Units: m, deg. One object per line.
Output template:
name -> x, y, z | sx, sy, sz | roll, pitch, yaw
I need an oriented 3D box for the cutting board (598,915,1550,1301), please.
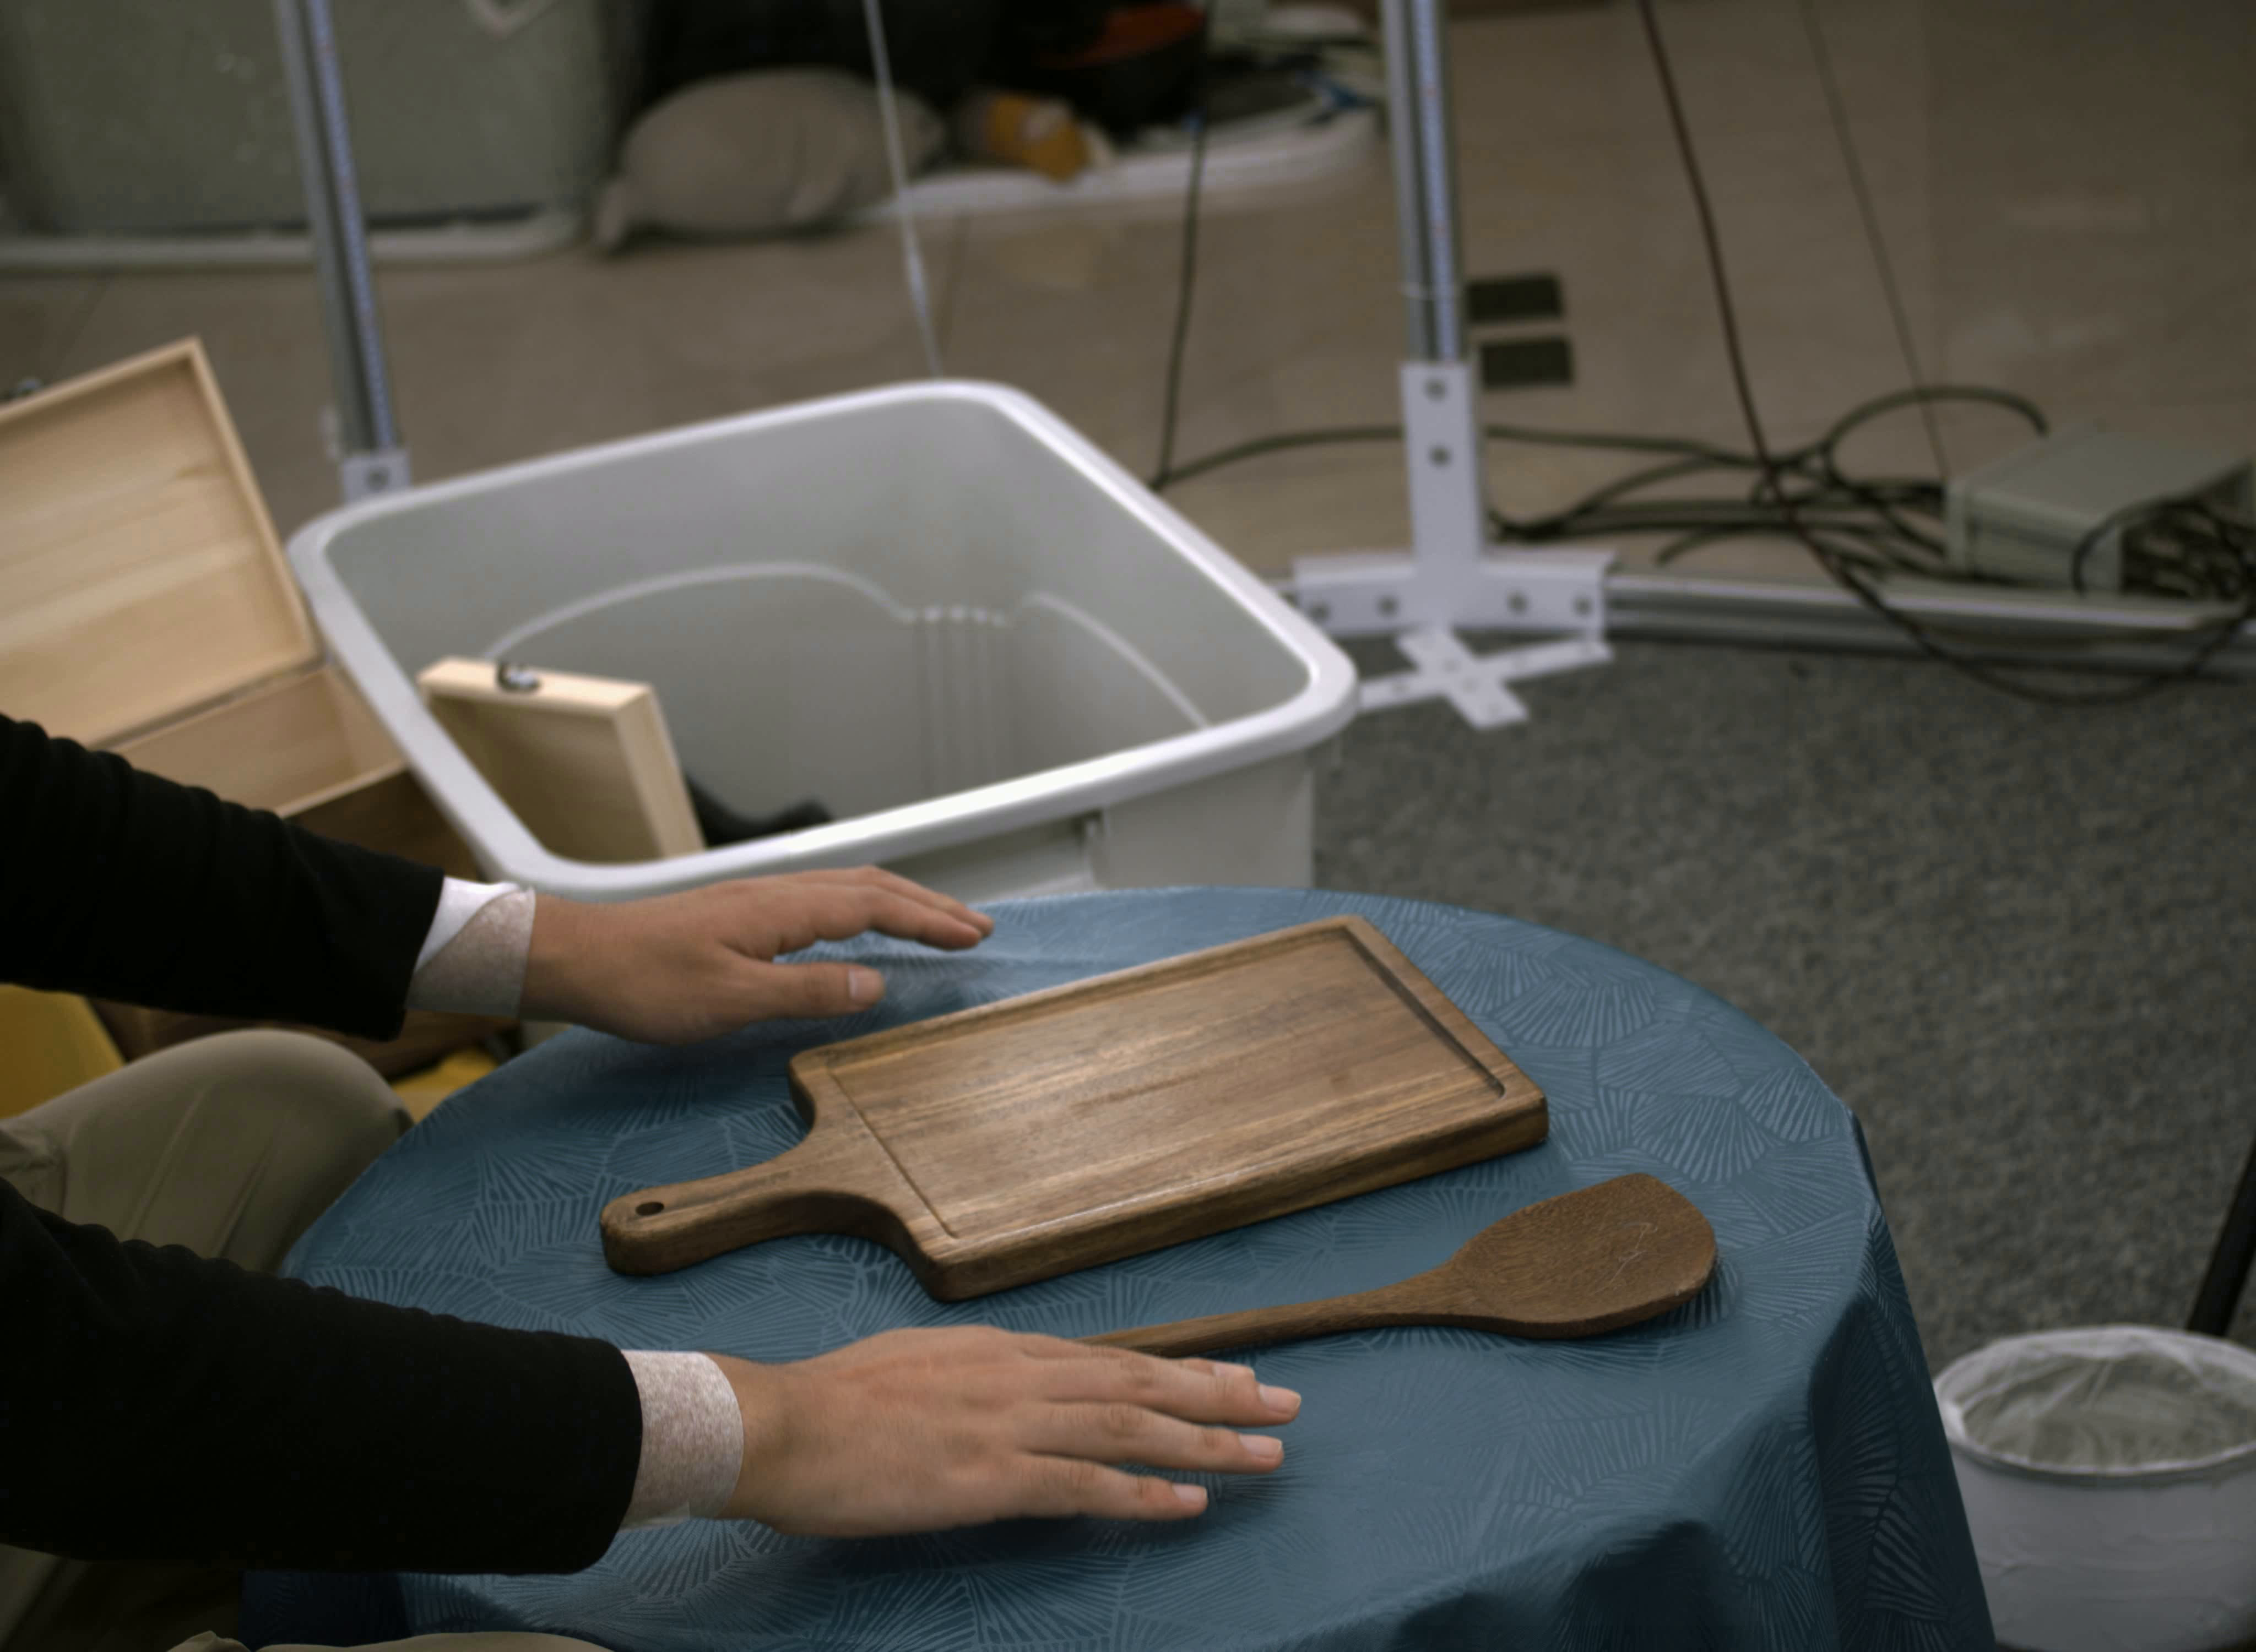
cutting board -> -0.035, 0.117, 2.181 | 0.351, 0.023, 0.198 | -14, 26, -16

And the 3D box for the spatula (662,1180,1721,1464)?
spatula -> 0.023, 0.183, 2.031 | 0.385, 0.016, 0.095 | -10, 25, -7
